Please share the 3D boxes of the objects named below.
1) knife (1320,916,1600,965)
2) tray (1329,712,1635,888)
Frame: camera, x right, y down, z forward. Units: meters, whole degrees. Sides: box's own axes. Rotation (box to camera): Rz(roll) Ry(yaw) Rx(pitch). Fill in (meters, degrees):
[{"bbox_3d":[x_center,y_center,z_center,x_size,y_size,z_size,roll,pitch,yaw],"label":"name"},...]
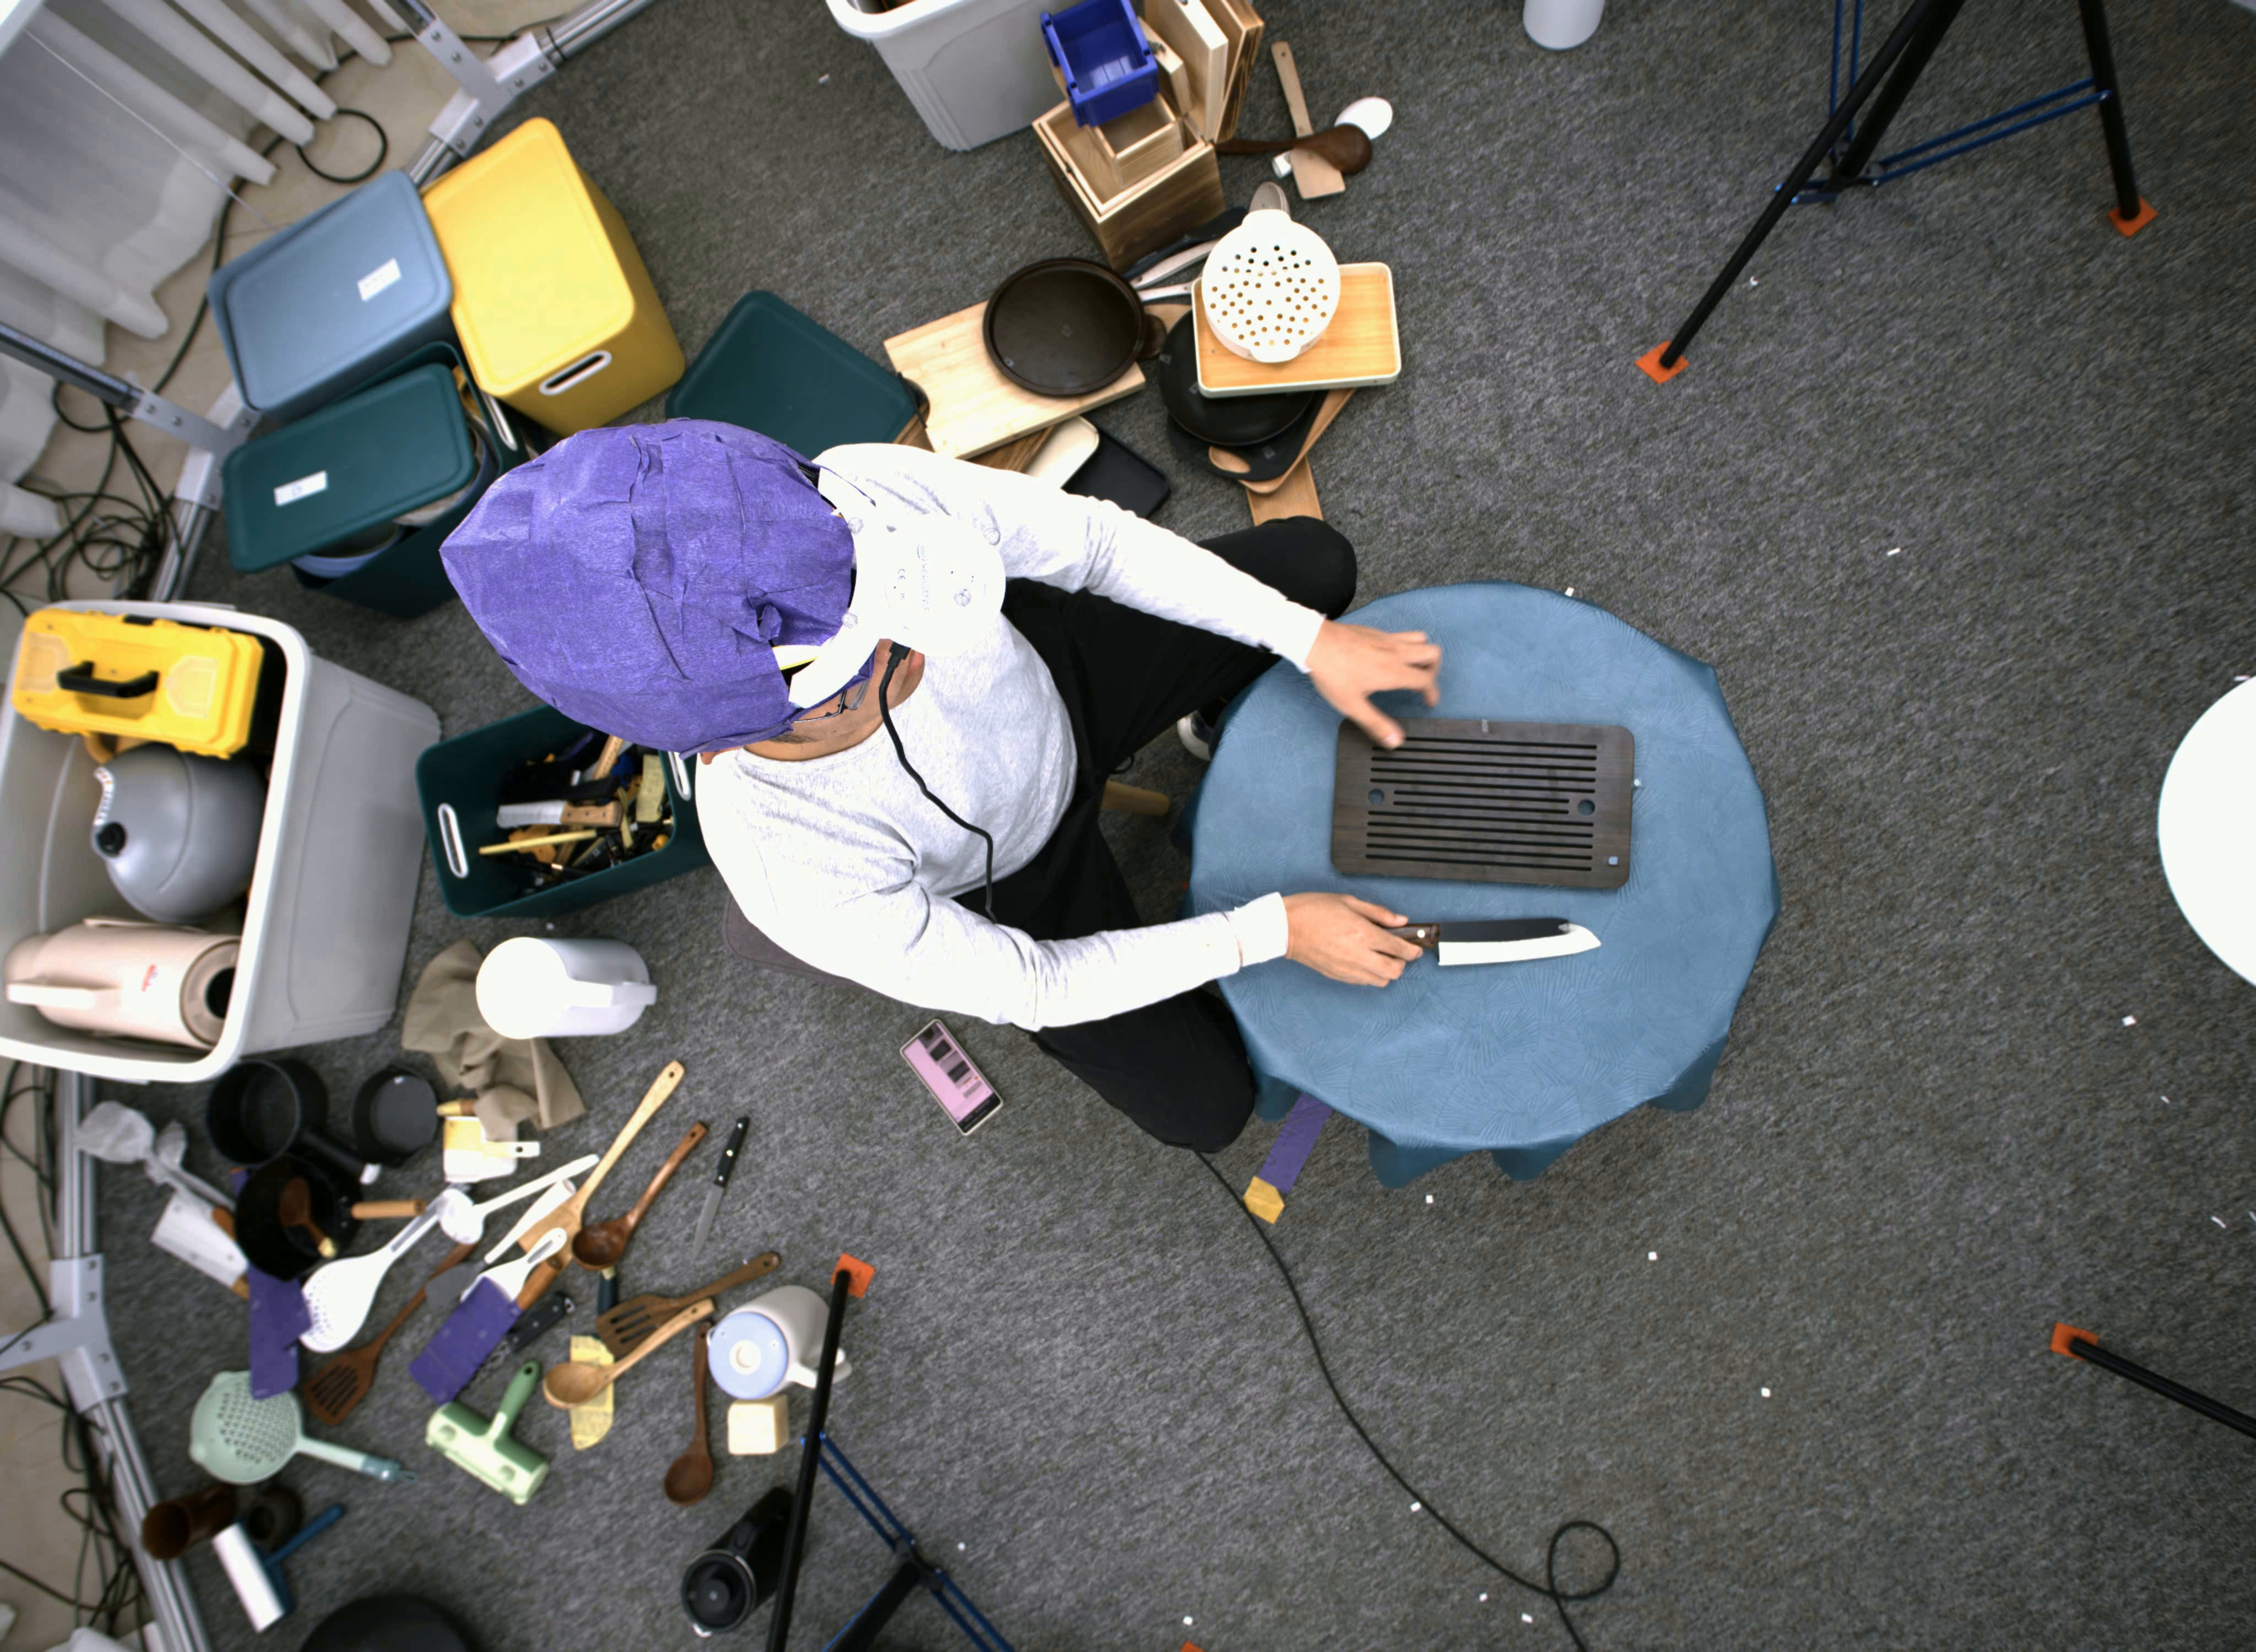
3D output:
[{"bbox_3d":[0.343,0.117,1.427,0.290,0.020,0.050,-1,86,5],"label":"knife"},{"bbox_3d":[0.368,-0.031,1.438,0.307,0.018,0.169,4,88,11],"label":"tray"}]
